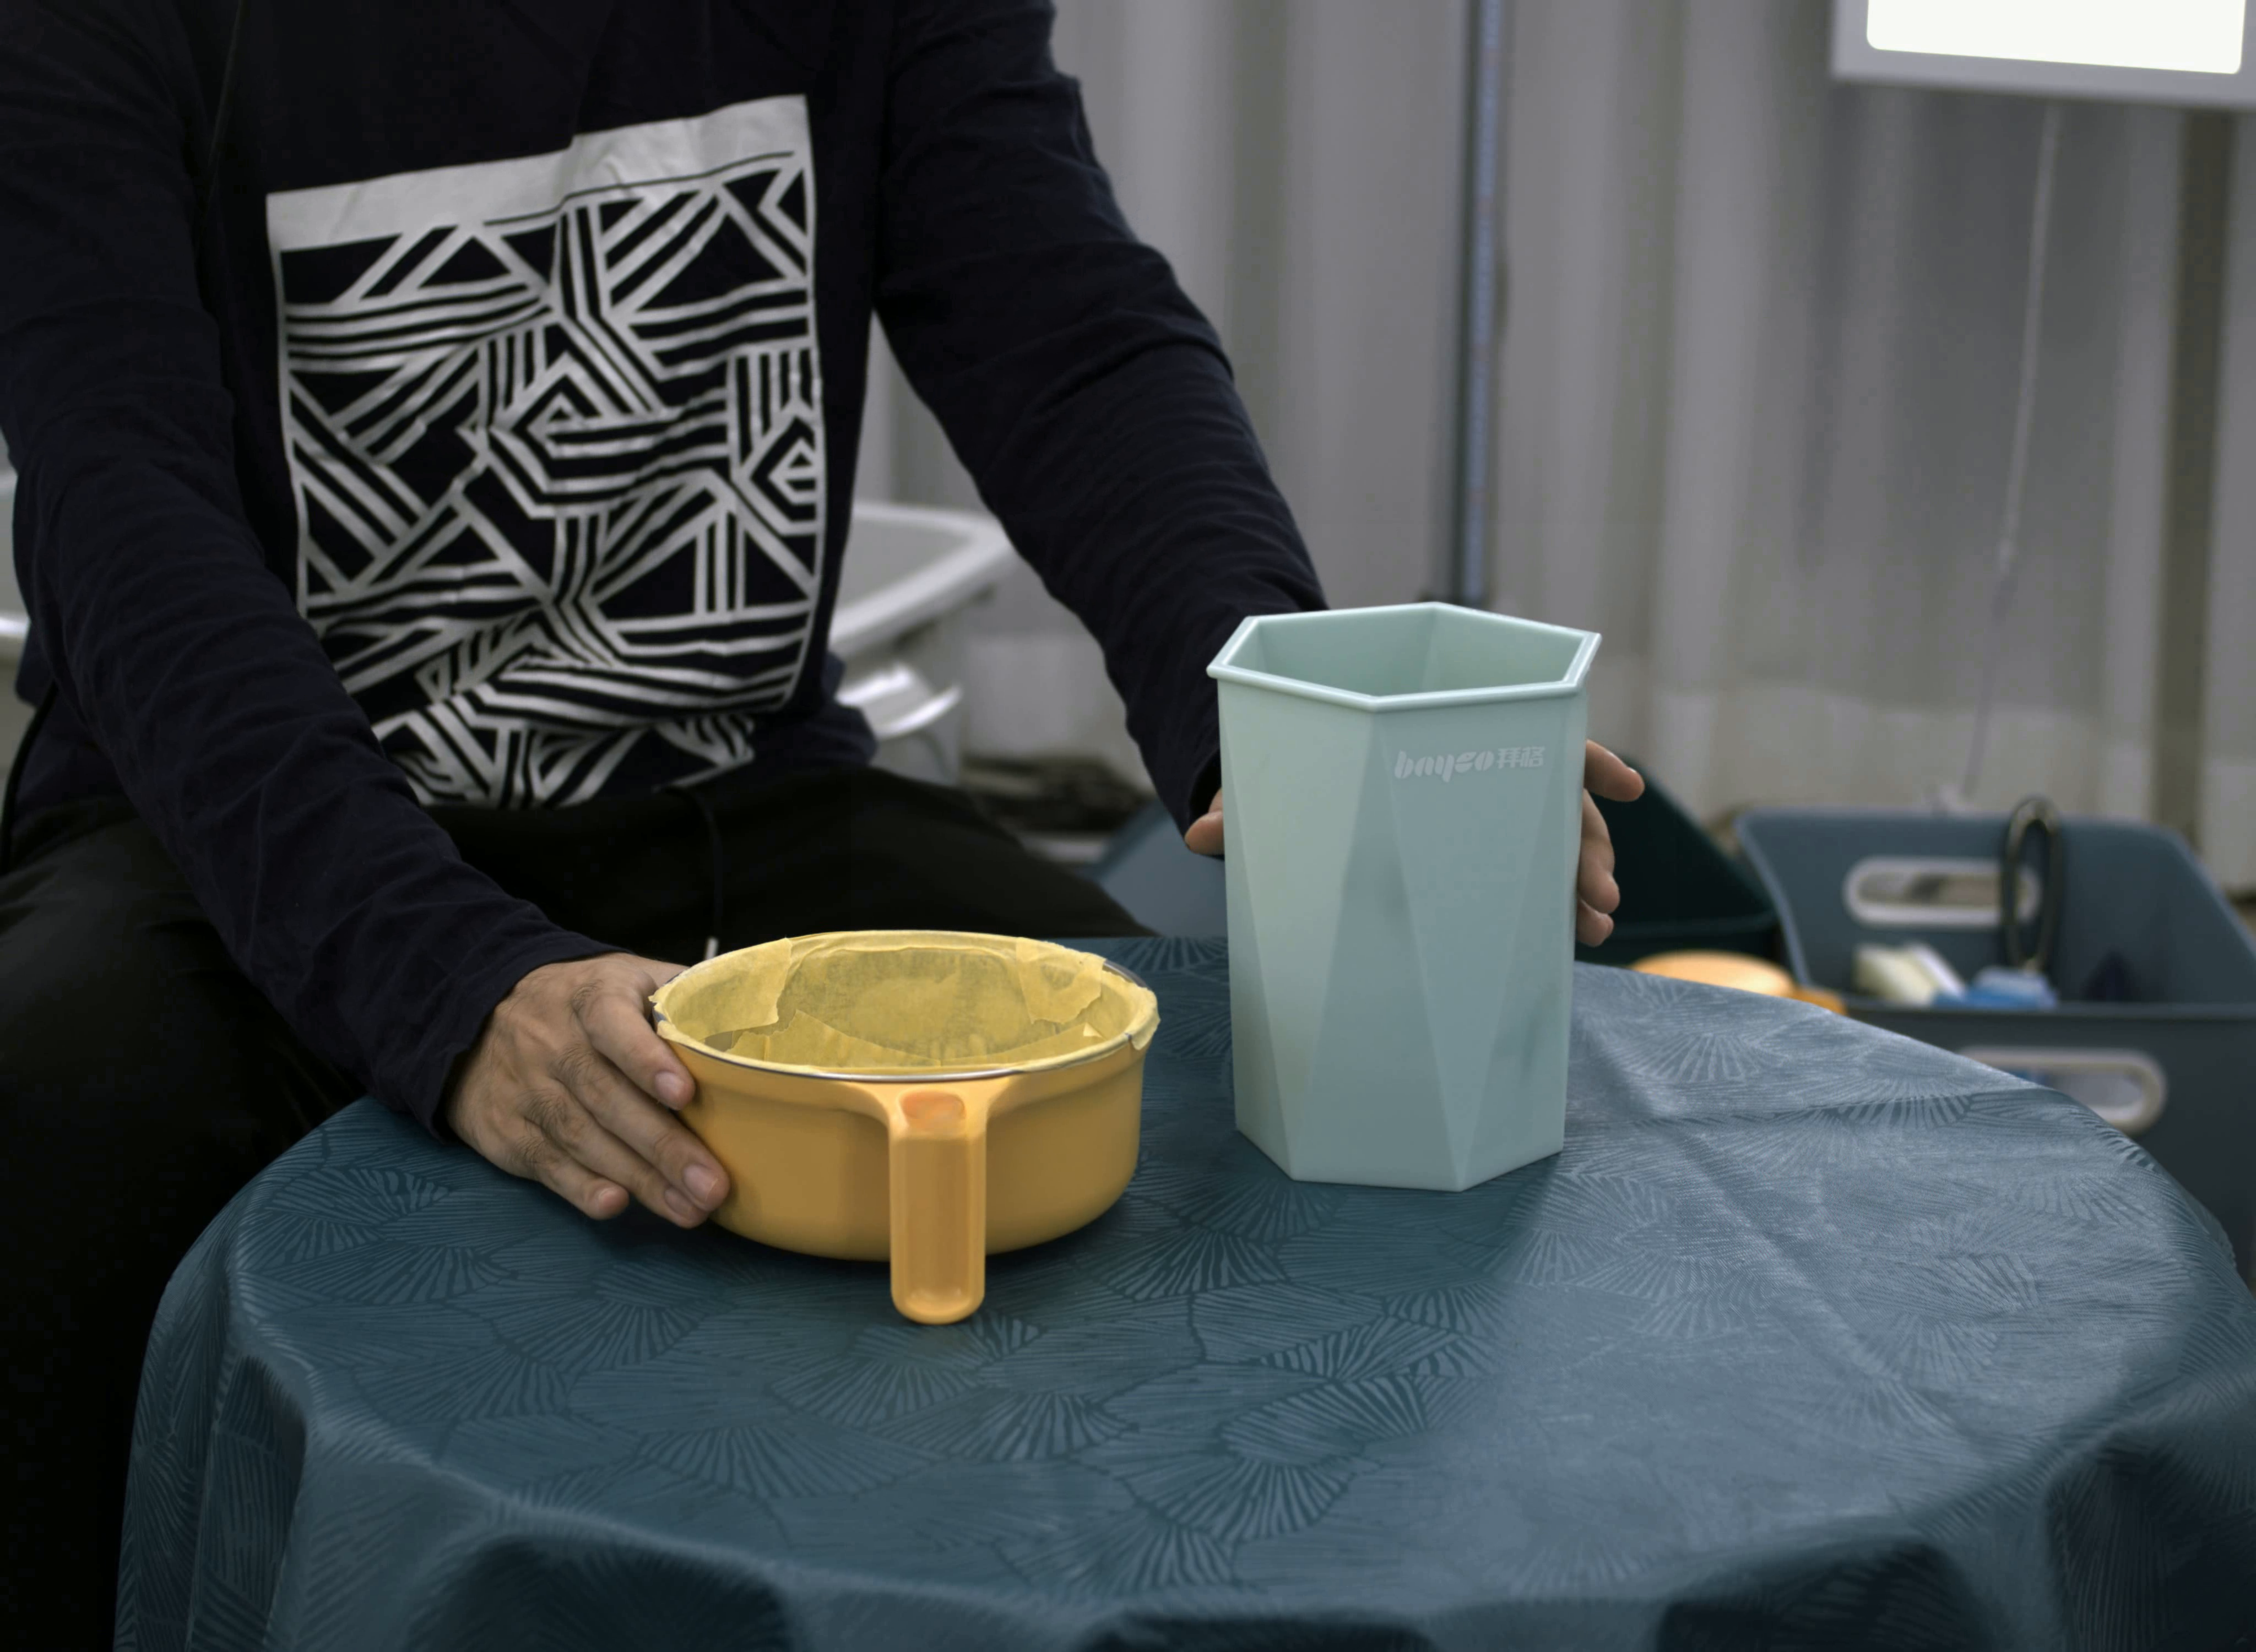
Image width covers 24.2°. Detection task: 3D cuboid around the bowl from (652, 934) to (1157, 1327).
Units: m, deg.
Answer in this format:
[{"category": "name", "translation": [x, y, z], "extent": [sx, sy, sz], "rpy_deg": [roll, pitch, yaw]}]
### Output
[{"category": "bowl", "translation": [-0.066, 0.088, 1.586], "extent": [0.153, 0.075, 0.178], "rpy_deg": [-3, 14, -11]}]

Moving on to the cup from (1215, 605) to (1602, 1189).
[{"category": "cup", "translation": [0.087, 0.022, 1.650], "extent": [0.131, 0.164, 0.114], "rpy_deg": [-5, 15, -22]}]
